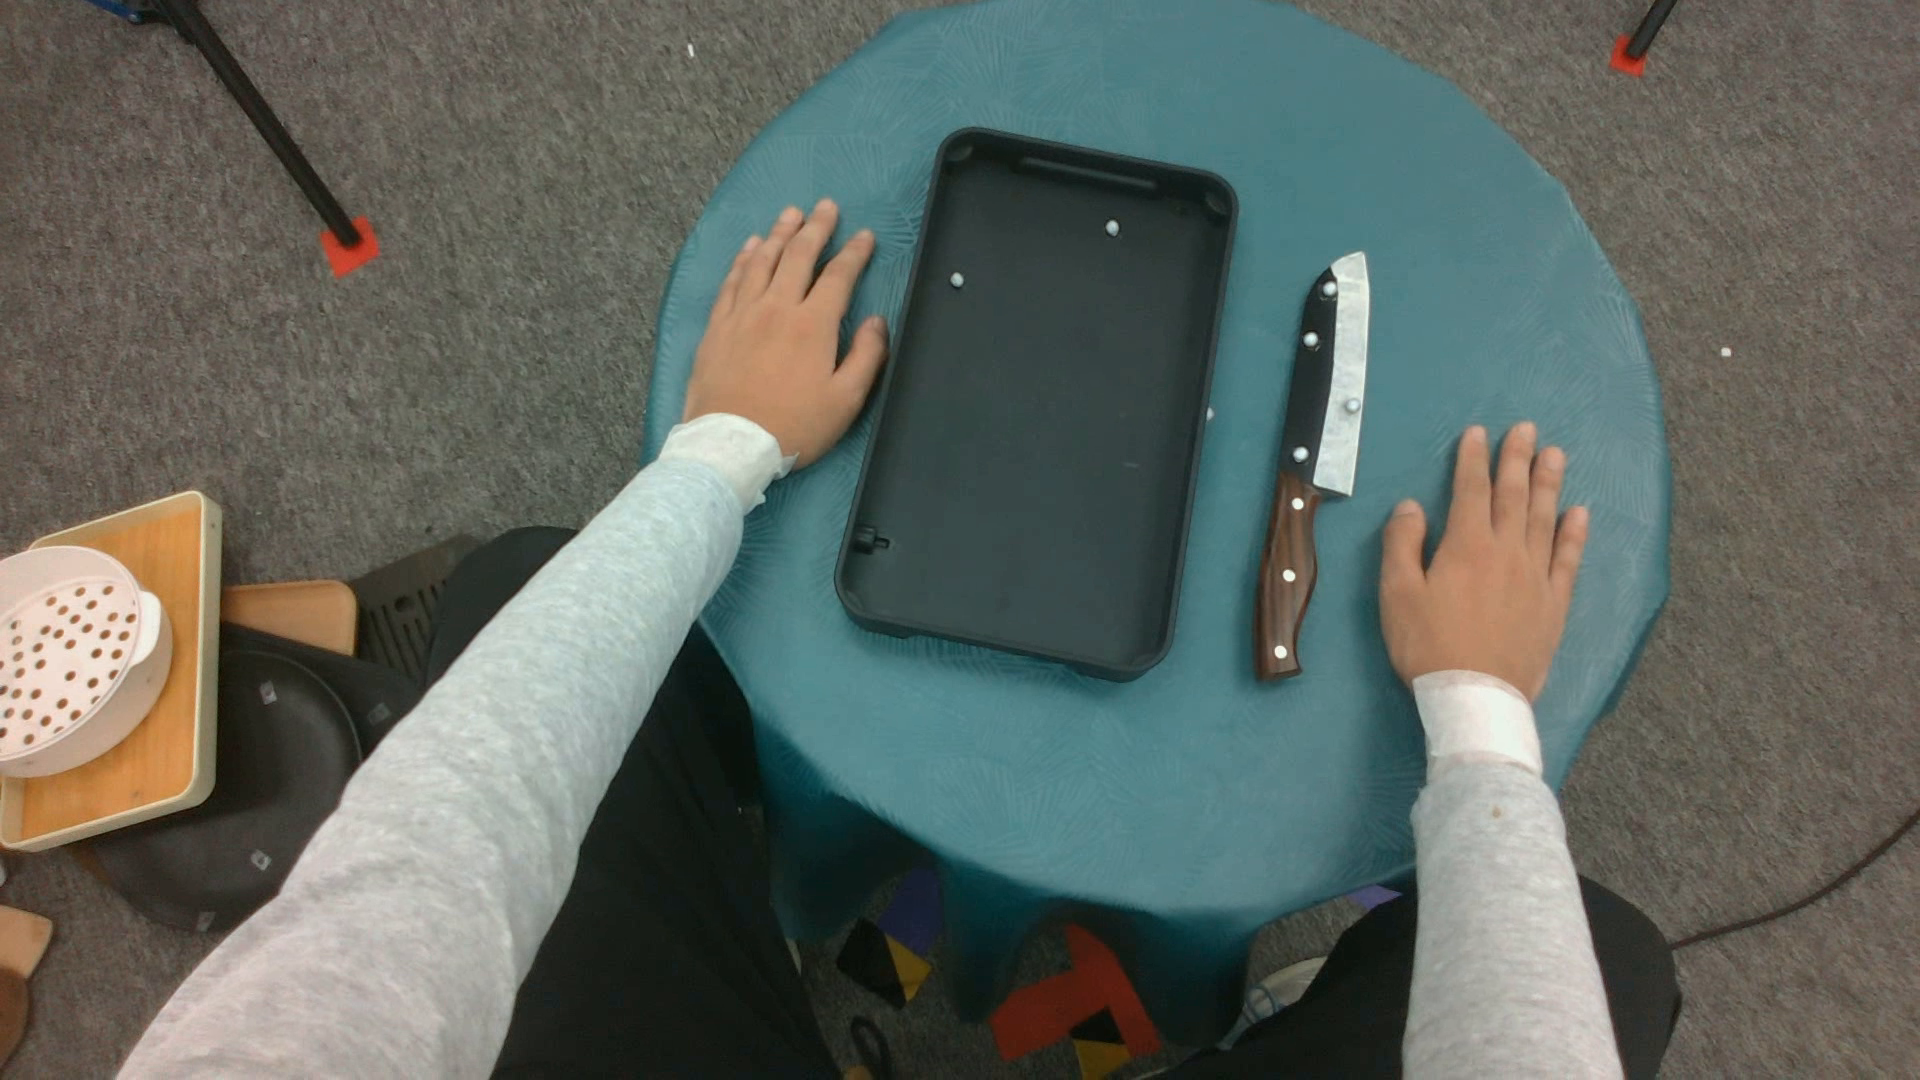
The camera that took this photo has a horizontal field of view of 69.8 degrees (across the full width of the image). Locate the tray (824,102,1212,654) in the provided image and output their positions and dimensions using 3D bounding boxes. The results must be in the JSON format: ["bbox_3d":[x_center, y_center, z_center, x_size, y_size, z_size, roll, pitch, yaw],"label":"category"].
[{"bbox_3d":[0.039,-0.099,0.789,0.184,0.037,0.319,9,70,0],"label":"tray"}]

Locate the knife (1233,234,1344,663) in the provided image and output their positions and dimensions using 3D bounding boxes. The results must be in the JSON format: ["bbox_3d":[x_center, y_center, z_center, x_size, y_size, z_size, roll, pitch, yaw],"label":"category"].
[{"bbox_3d":[0.193,-0.061,0.797,0.050,0.020,0.290,17,67,-3],"label":"knife"}]
